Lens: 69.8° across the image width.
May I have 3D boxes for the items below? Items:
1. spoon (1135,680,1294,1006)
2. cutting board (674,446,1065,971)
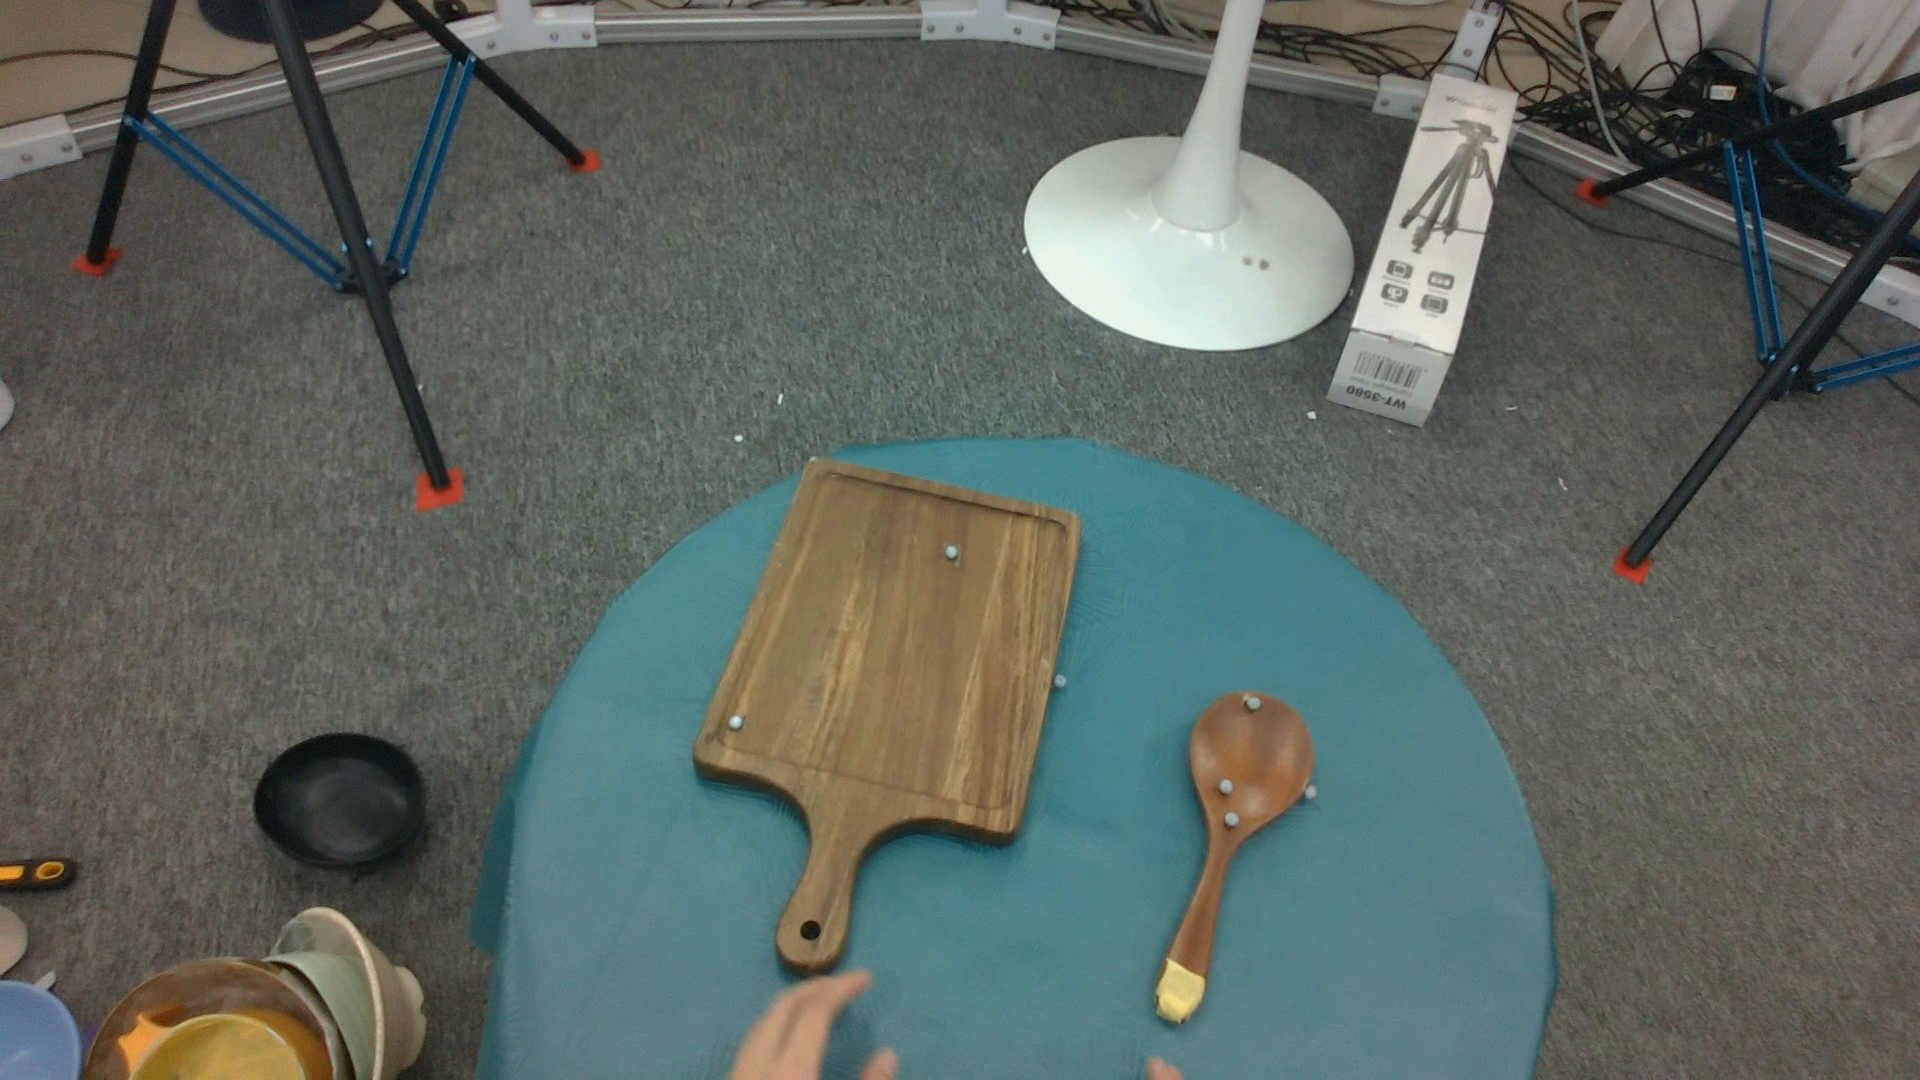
[{"bbox_3d":[0.141,0.170,0.797,0.075,0.017,0.217,21,51,8],"label":"spoon"},{"bbox_3d":[-0.057,0.090,0.837,0.201,0.023,0.354,13,51,3],"label":"cutting board"}]
